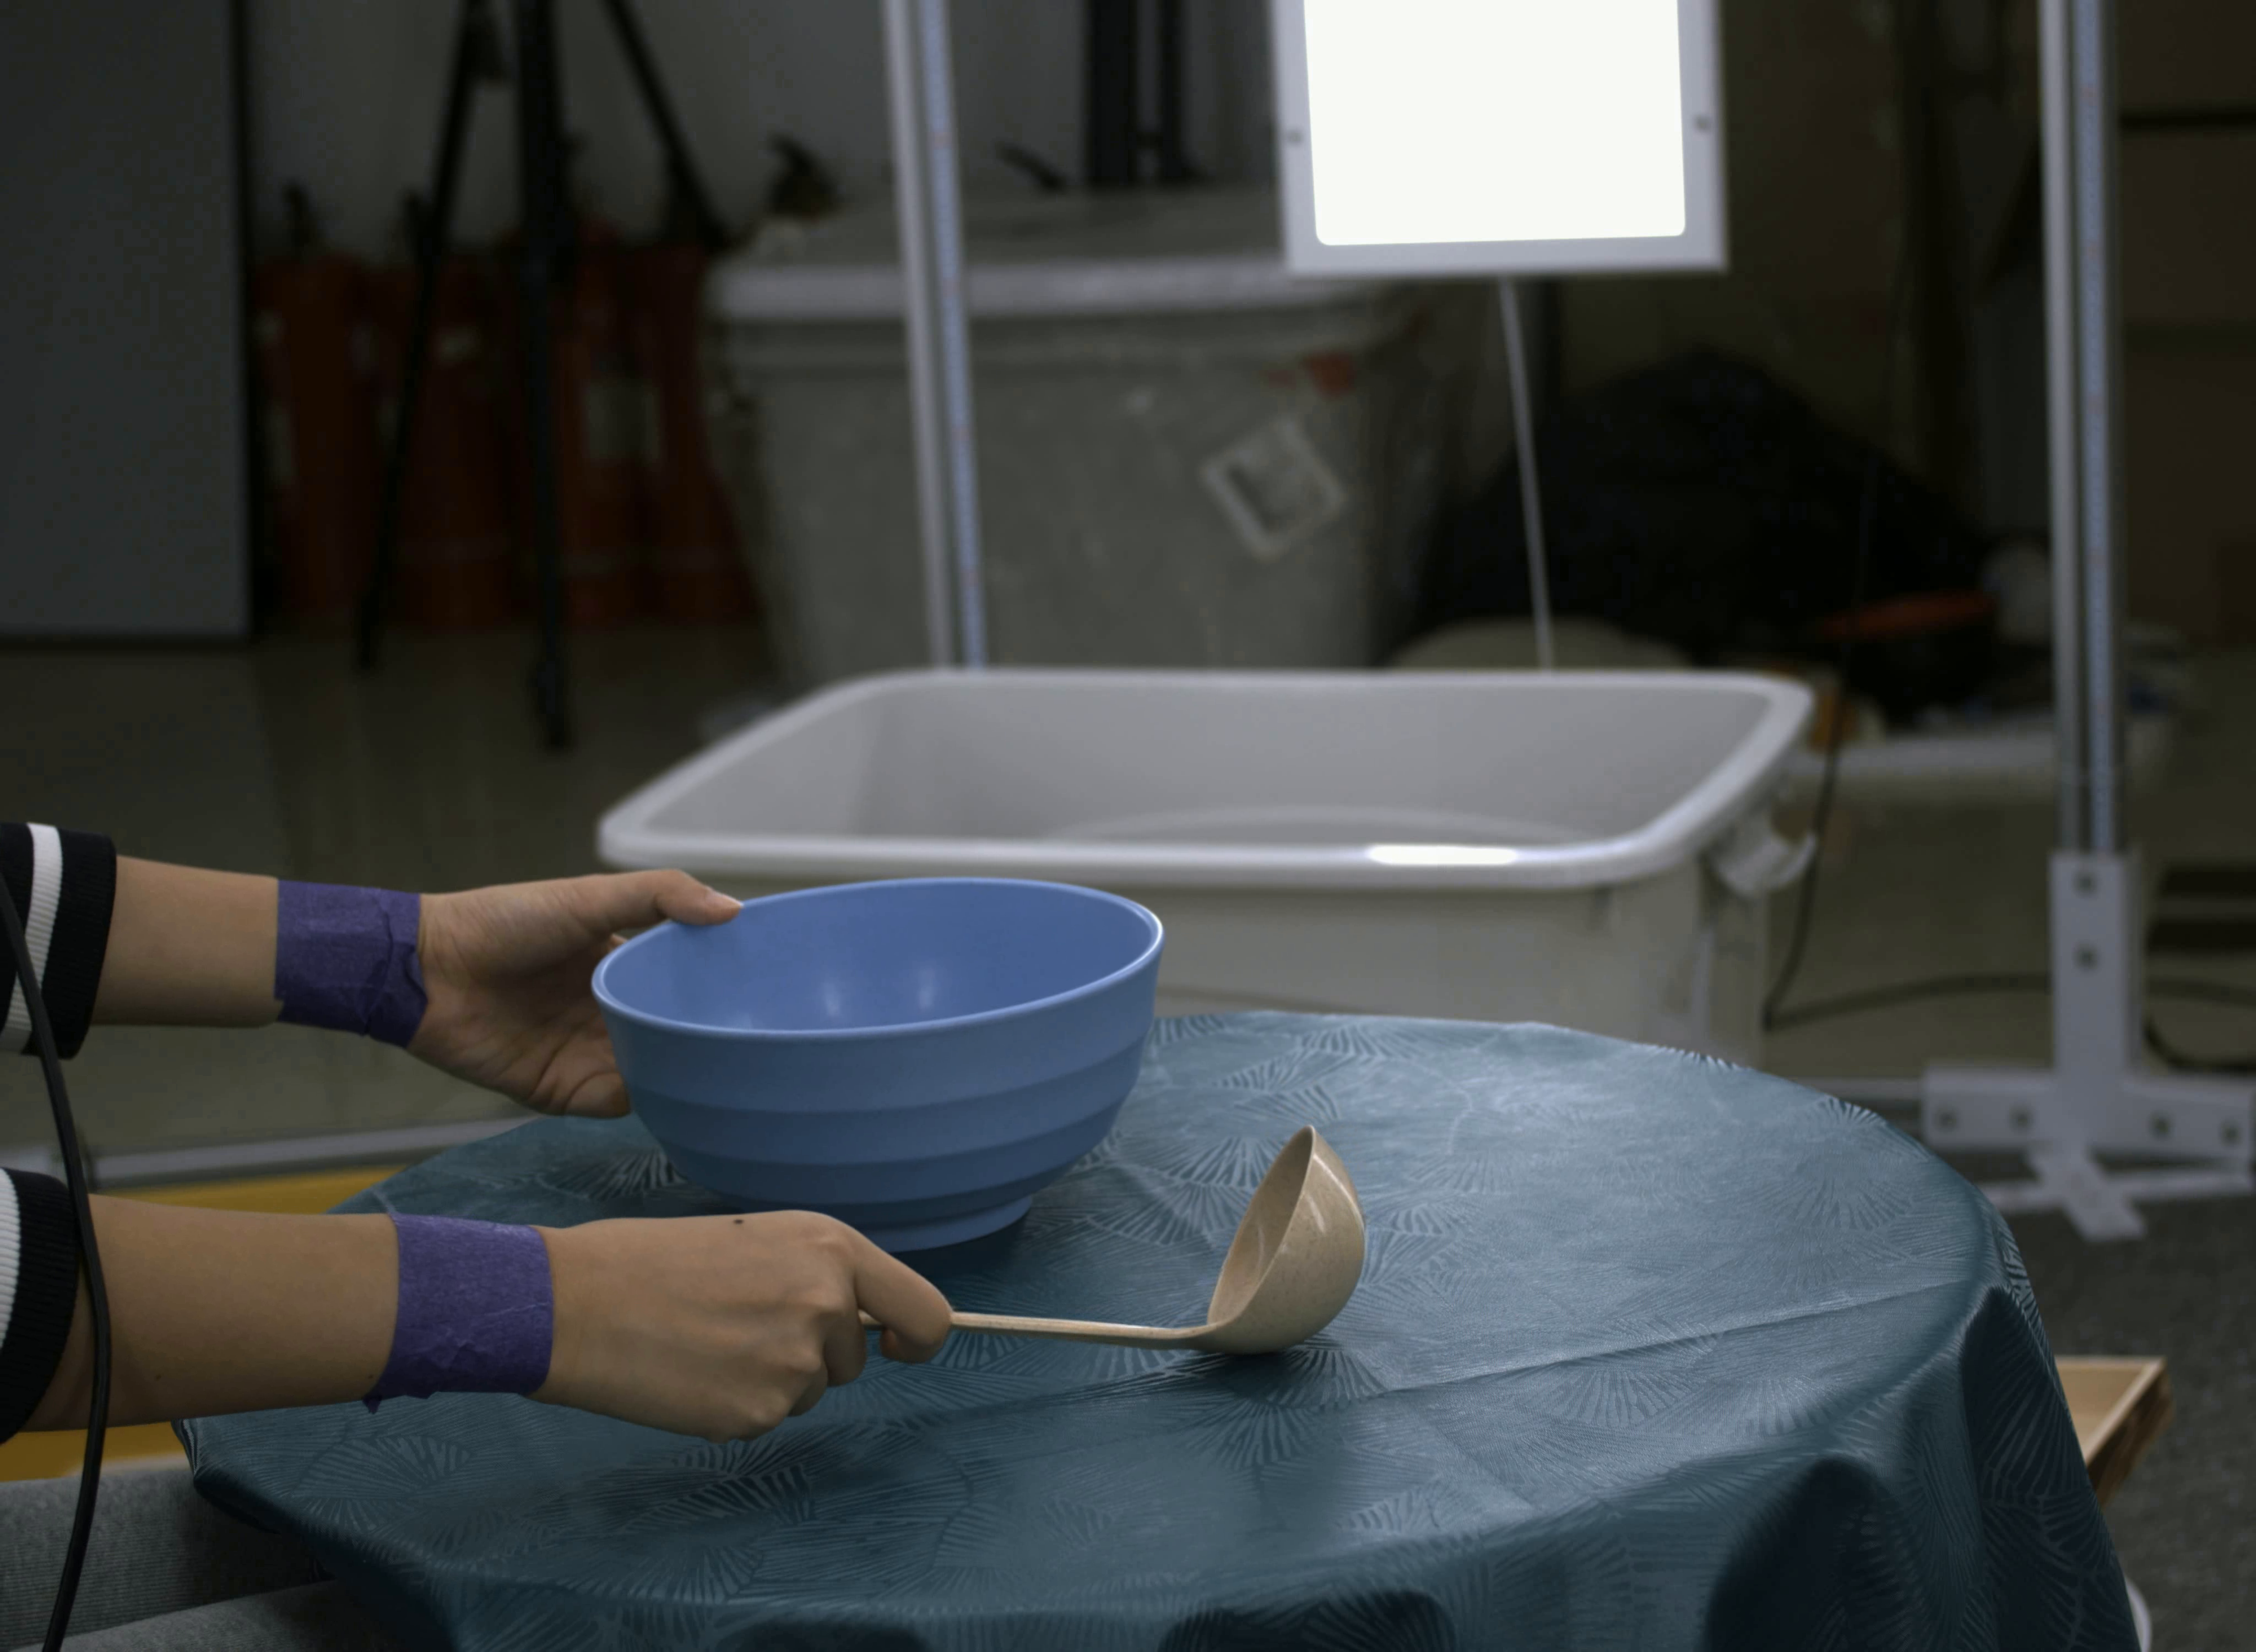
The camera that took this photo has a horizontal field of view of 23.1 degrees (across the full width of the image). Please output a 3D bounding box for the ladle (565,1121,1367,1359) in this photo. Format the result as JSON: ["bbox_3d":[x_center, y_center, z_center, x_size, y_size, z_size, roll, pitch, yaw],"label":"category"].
[{"bbox_3d":[-0.050,0.127,1.695,0.250,0.073,0.073,1,-15,-16],"label":"ladle"}]

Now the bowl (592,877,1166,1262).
[{"bbox_3d":[-0.083,0.089,1.888,0.196,0.096,0.196,-3,15,0],"label":"bowl"}]
